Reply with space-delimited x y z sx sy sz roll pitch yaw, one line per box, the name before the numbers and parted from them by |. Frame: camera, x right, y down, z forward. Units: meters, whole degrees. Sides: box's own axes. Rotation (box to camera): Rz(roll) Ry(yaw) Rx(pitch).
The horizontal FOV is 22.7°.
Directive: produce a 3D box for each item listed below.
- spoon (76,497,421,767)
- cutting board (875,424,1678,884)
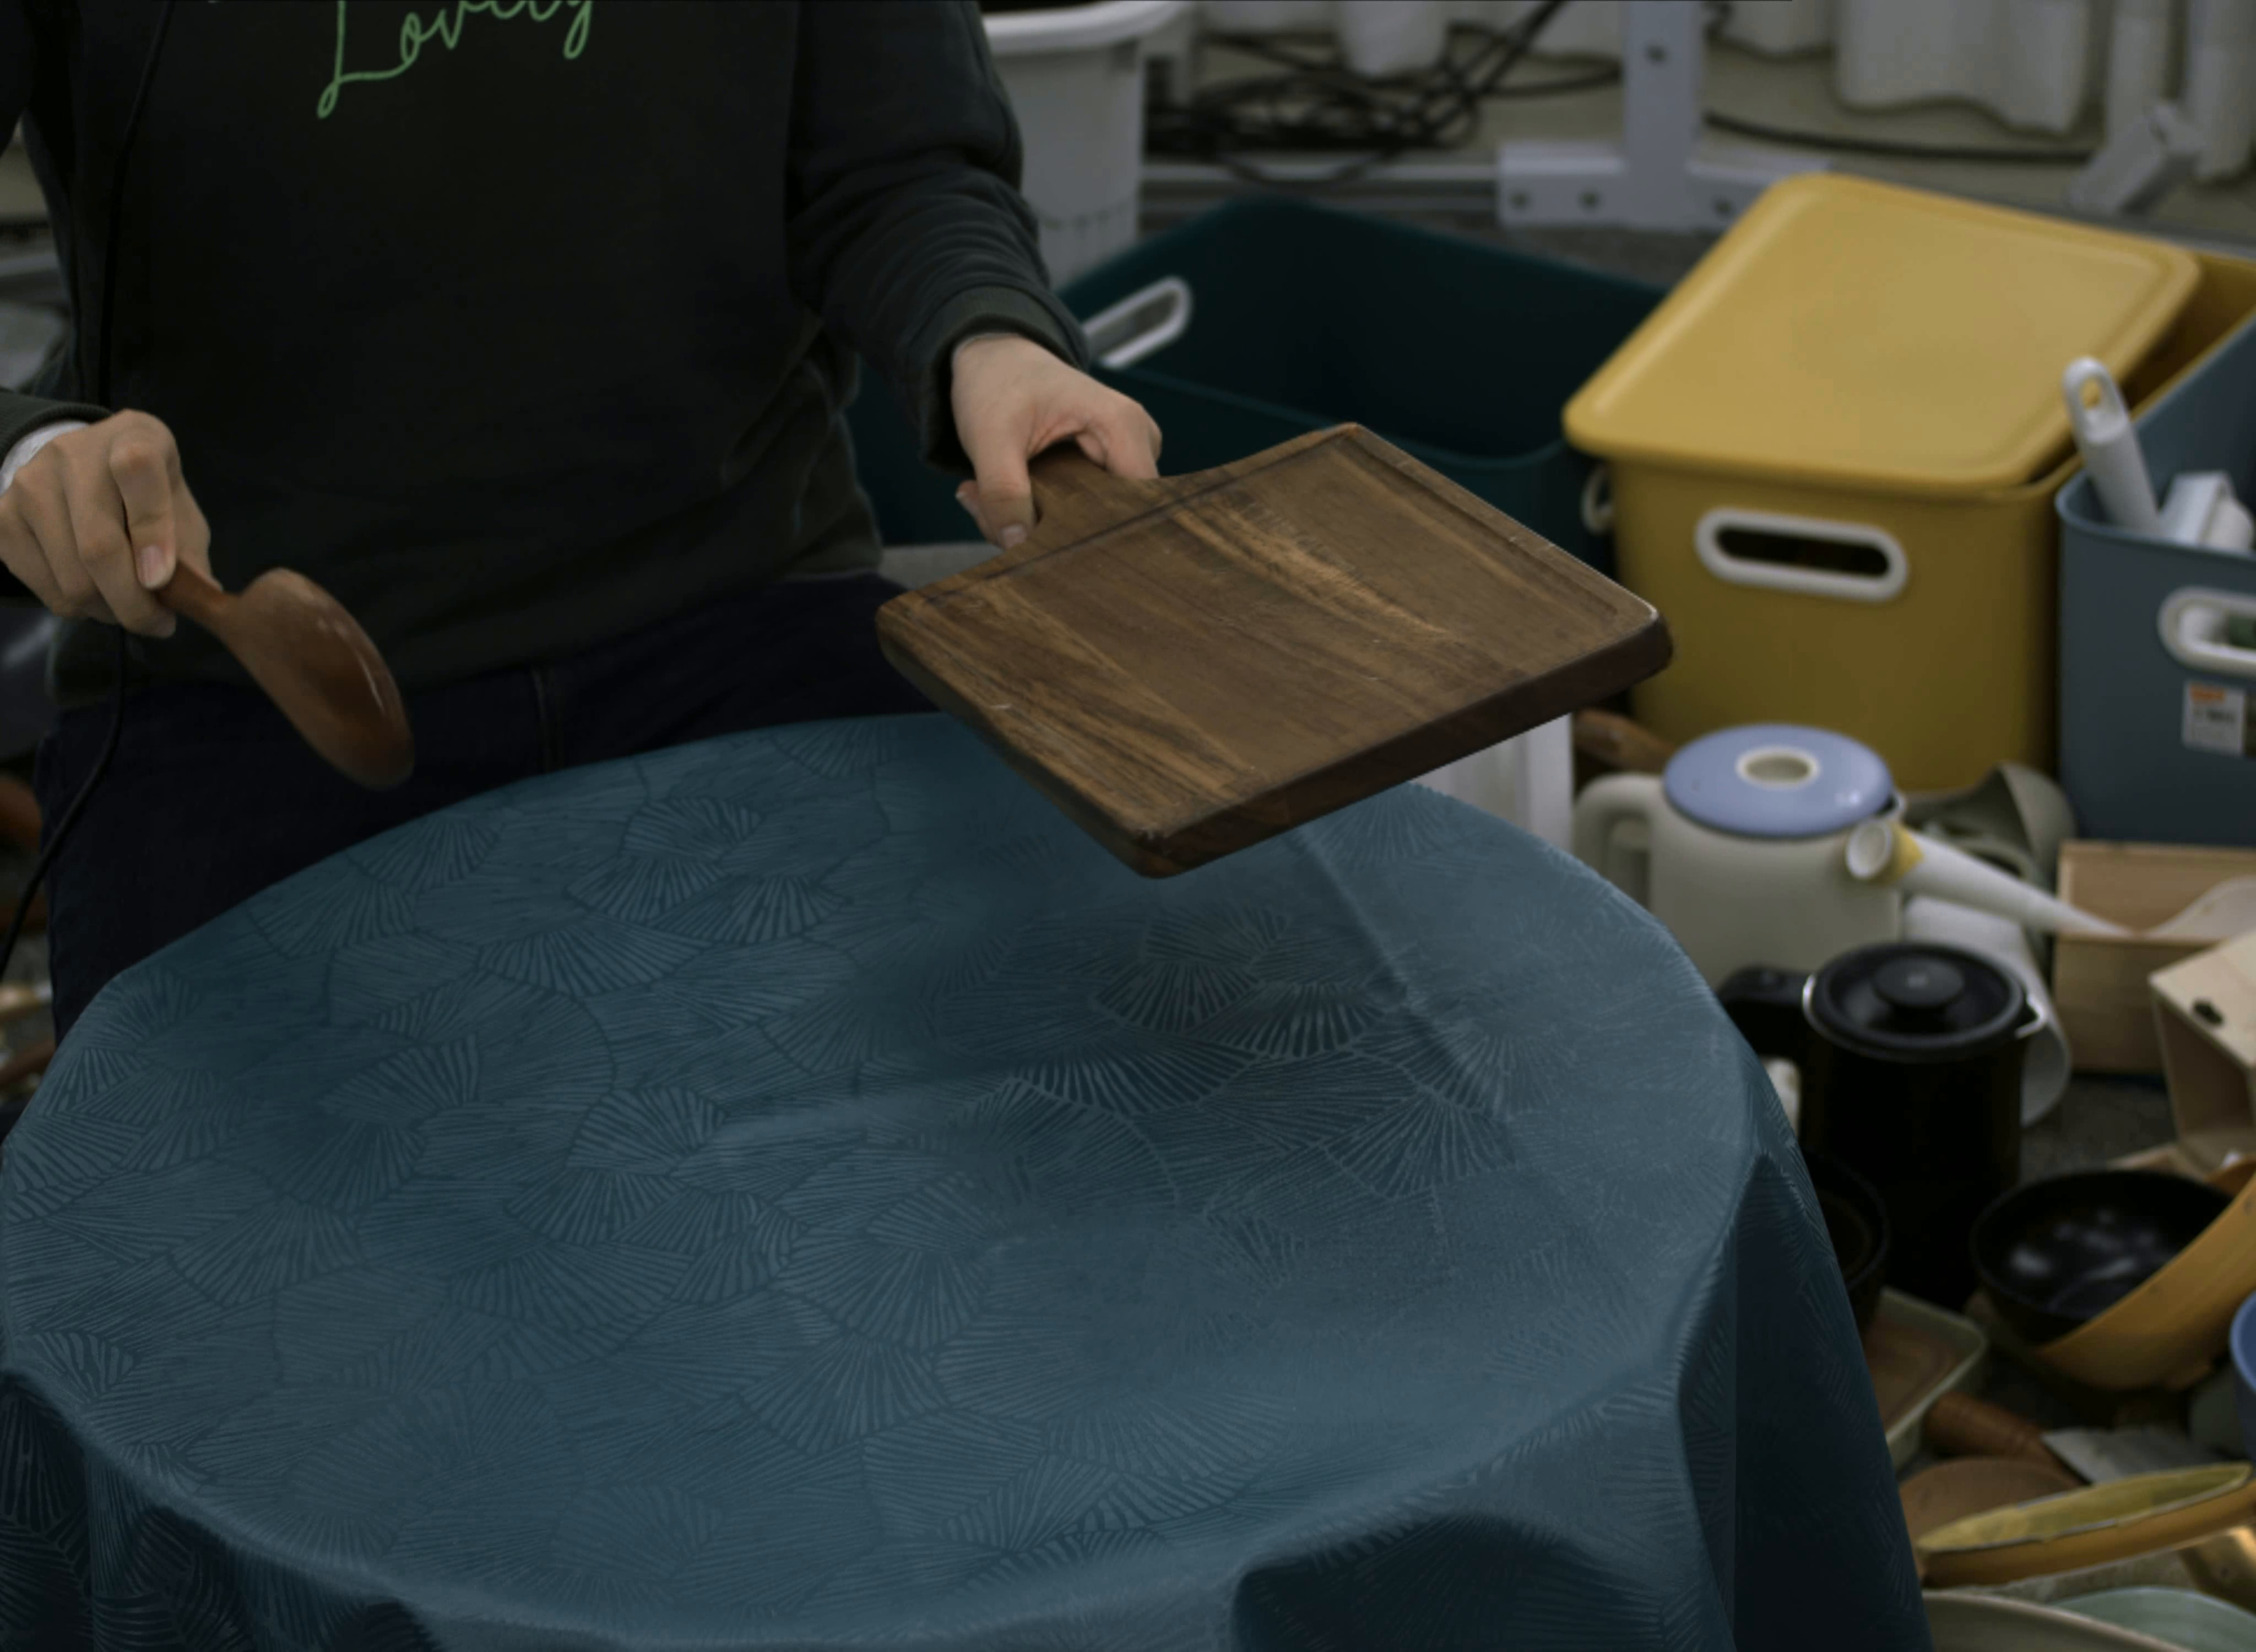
spoon | -0.293 -0.068 1.849 0.017 0.074 0.216 -35 35 -21
cutting board | 0.026 -0.079 1.951 0.202 0.023 0.353 -23 26 -15
